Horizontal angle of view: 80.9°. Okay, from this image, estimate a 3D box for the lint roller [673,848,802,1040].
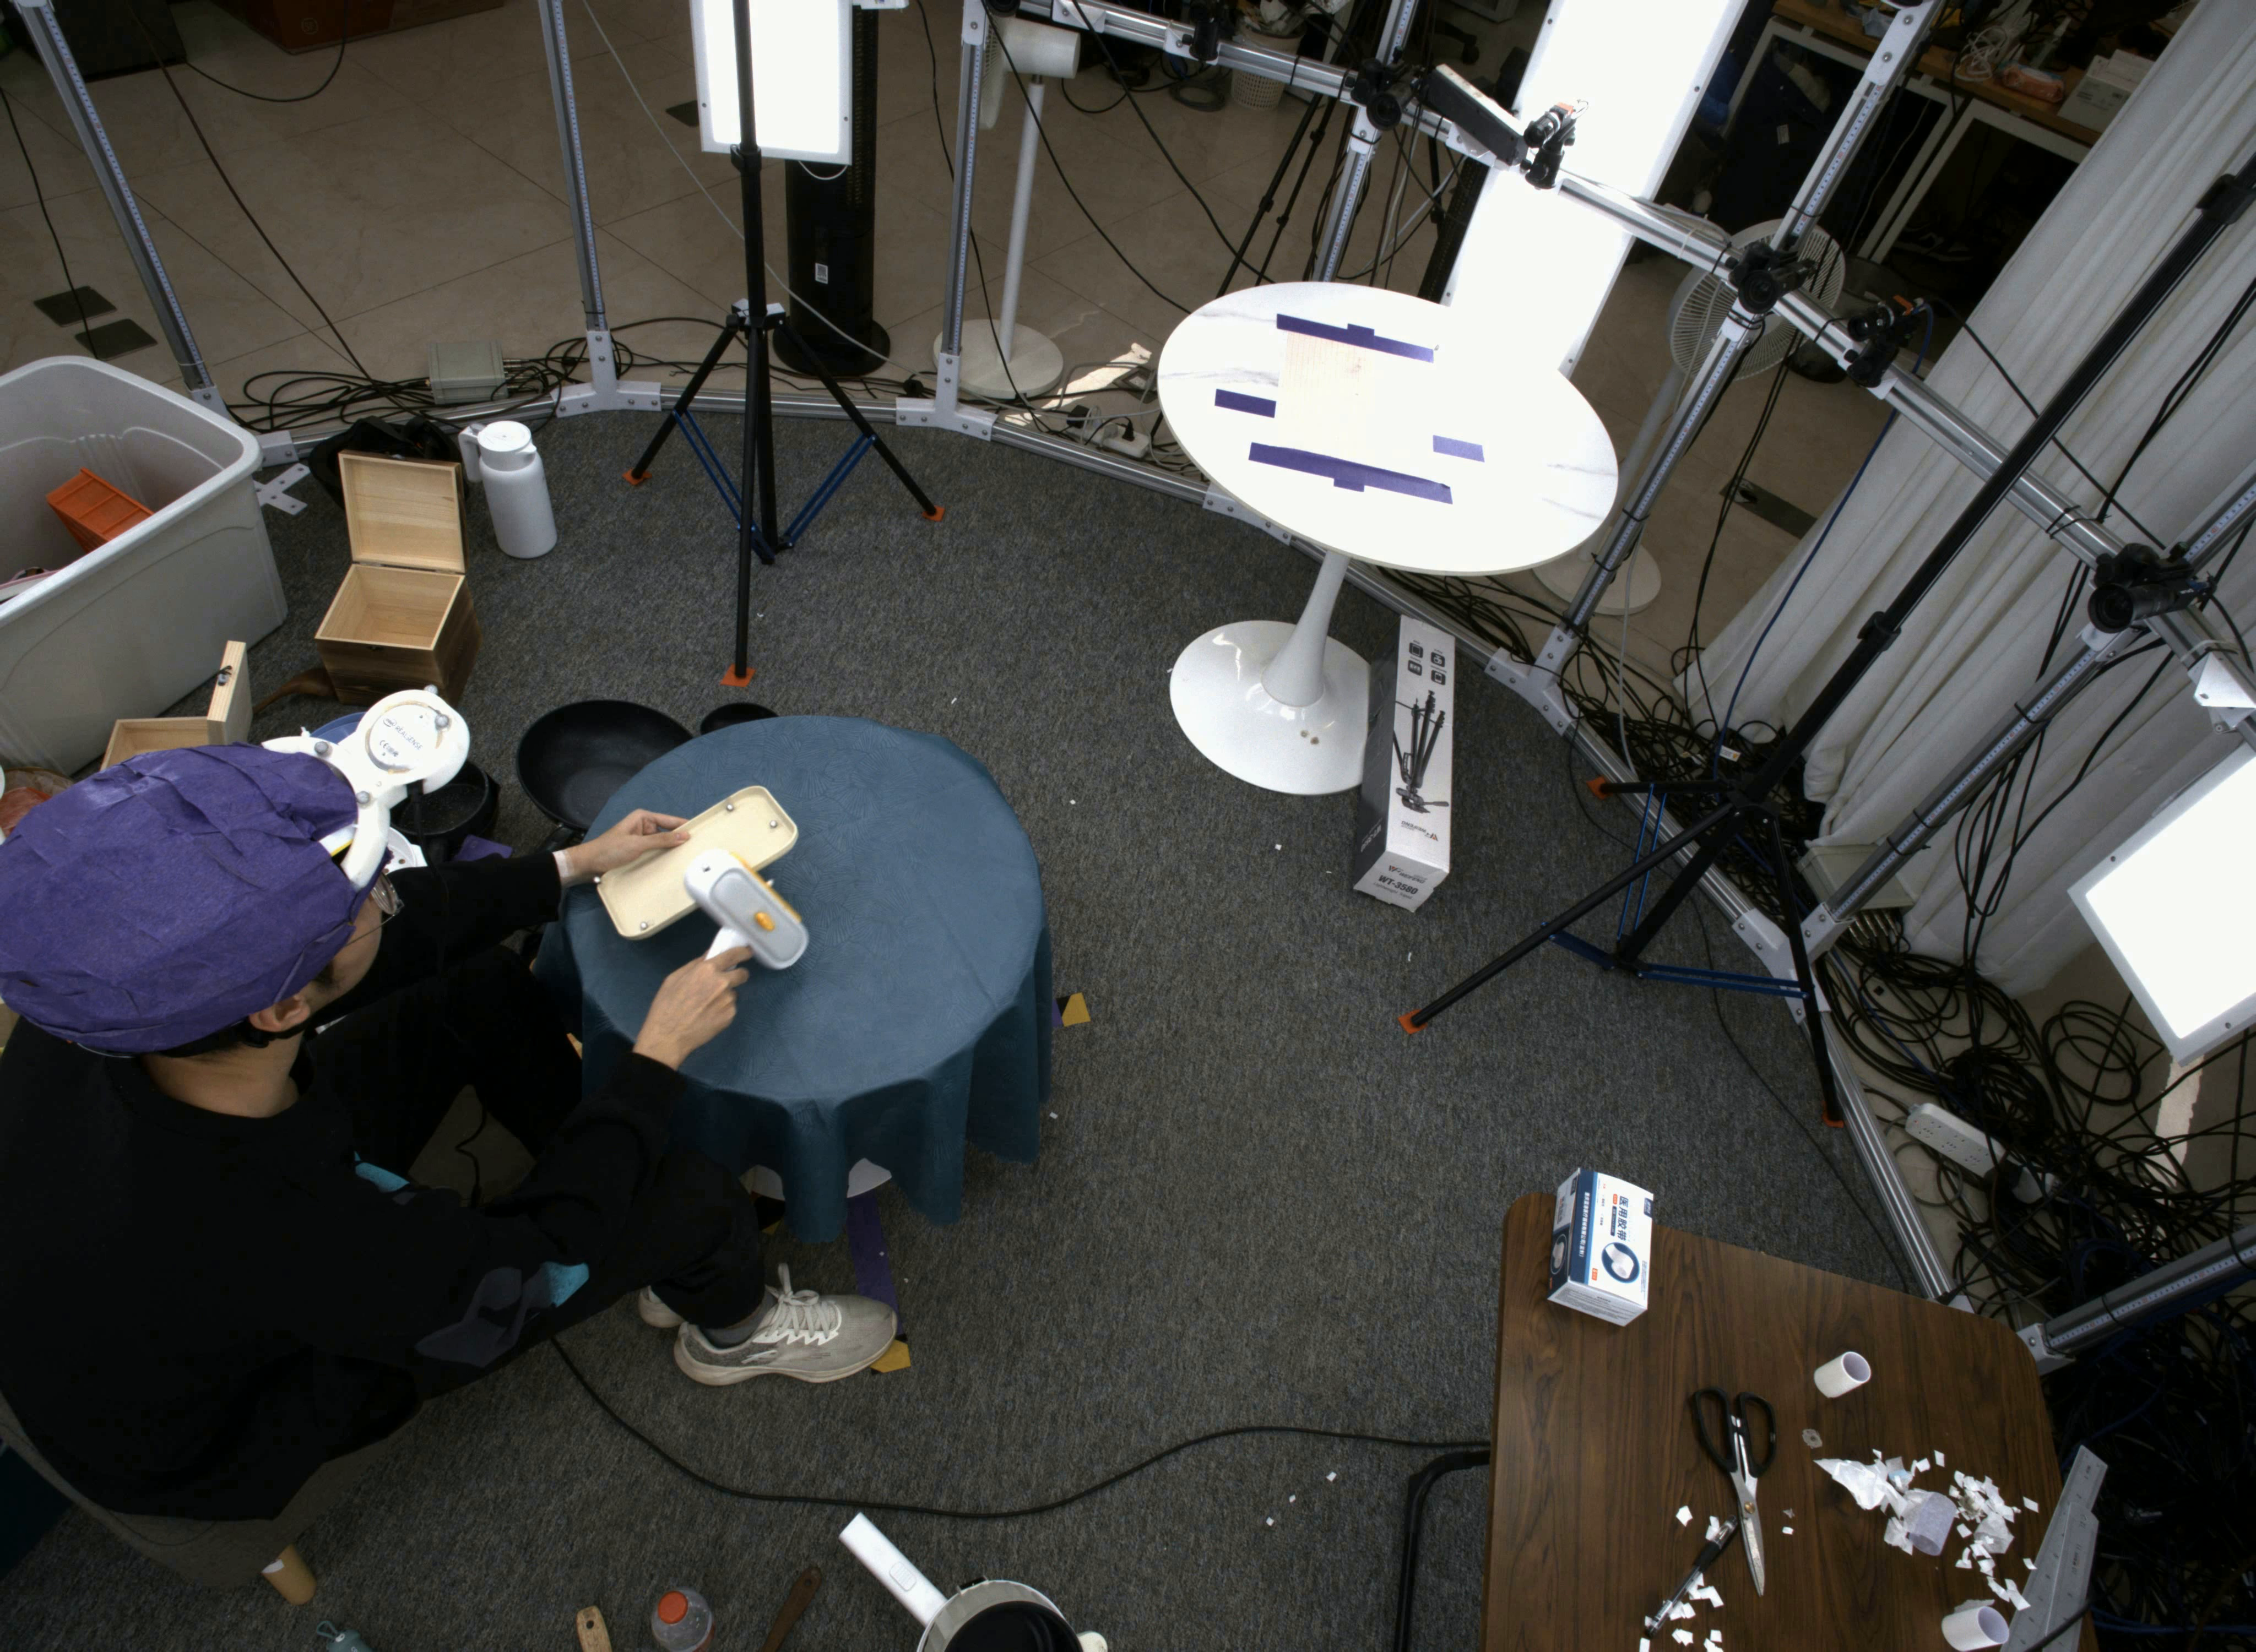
[{"bbox_3d":[-0.469,0.147,1.480,0.072,0.200,0.192,16,66,27],"label":"lint roller"}]

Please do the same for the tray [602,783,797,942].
[{"bbox_3d":[-0.522,0.041,1.567,0.239,0.018,0.165,-34,41,-16],"label":"tray"}]
